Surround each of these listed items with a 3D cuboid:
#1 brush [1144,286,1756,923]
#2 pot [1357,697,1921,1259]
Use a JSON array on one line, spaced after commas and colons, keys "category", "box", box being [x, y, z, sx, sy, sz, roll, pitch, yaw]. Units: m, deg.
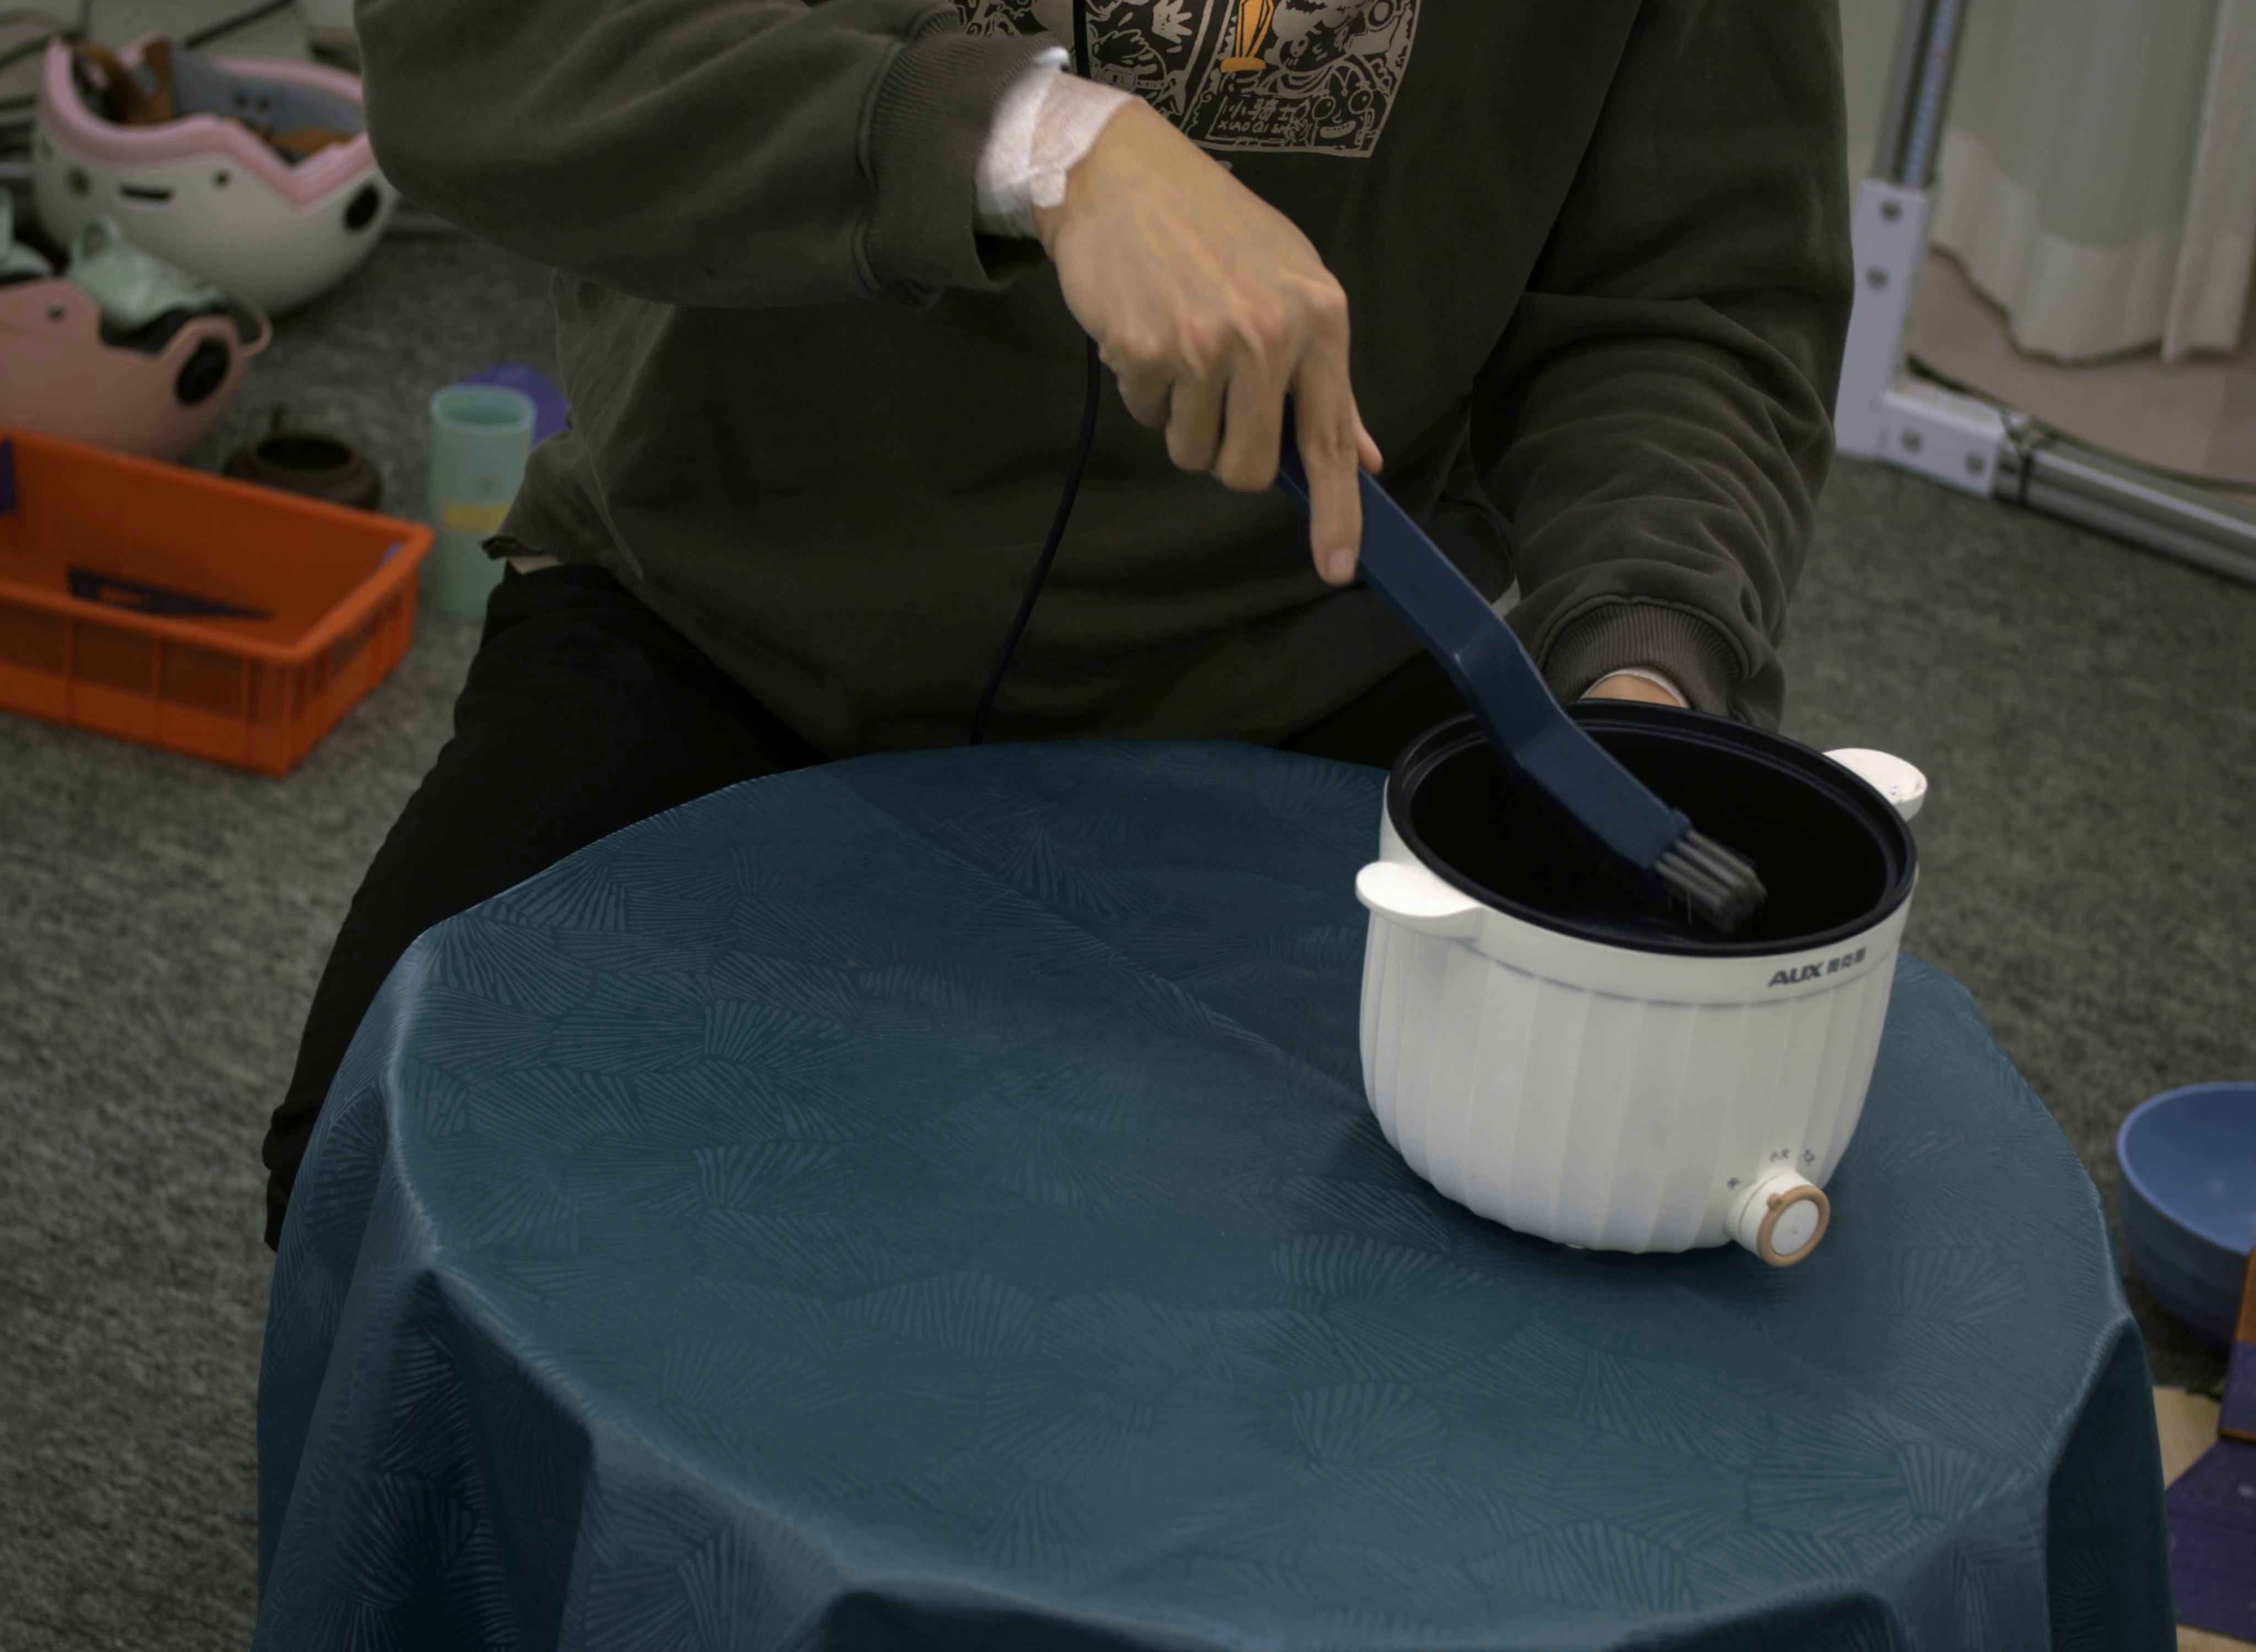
[{"category": "brush", "box": [0.110, -0.071, 1.806, 0.033, 0.272, 0.096, -42, 12, -13]}, {"category": "pot", "box": [0.175, 0.057, 1.820, 0.239, 0.142, 0.192, -14, 29, -33]}]
